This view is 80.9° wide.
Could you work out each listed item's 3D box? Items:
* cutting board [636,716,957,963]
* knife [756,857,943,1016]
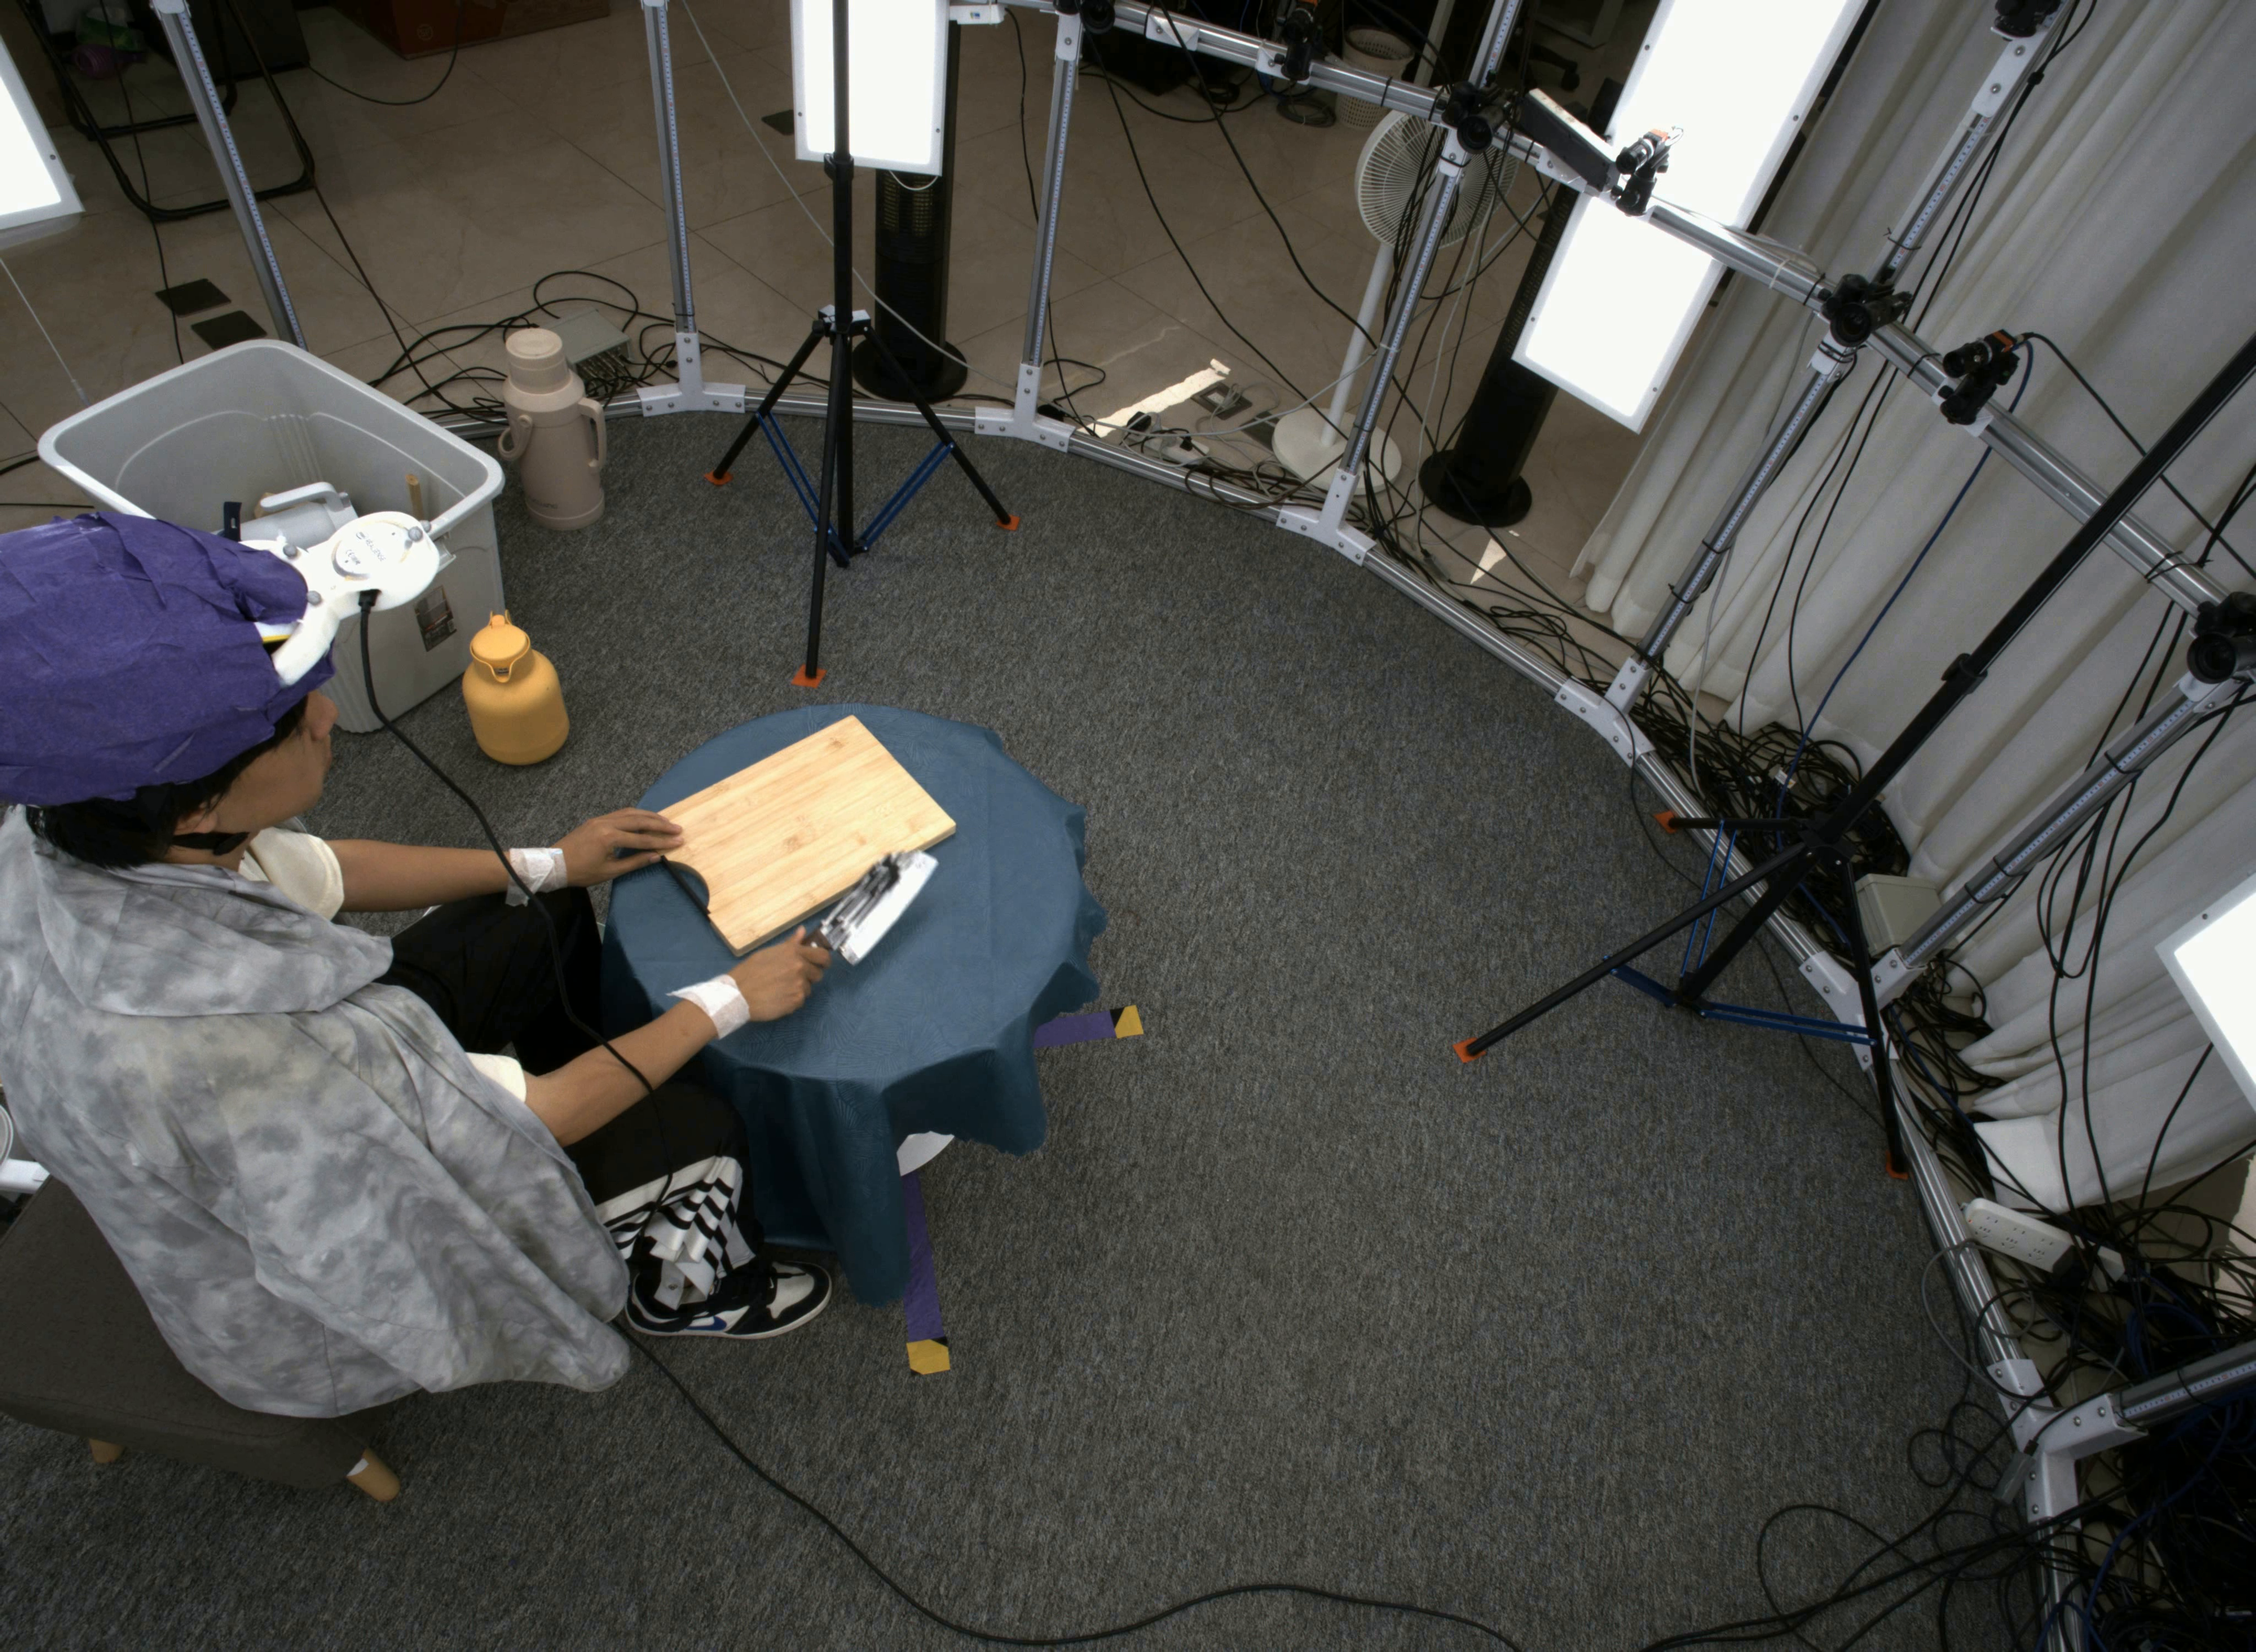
[{"bbox_3d":[-0.431,0.006,1.710,0.349,0.024,0.245,-34,67,-32],"label":"cutting board"},{"bbox_3d":[-0.332,0.133,1.583,0.069,0.023,0.299,48,57,-12],"label":"knife"}]
